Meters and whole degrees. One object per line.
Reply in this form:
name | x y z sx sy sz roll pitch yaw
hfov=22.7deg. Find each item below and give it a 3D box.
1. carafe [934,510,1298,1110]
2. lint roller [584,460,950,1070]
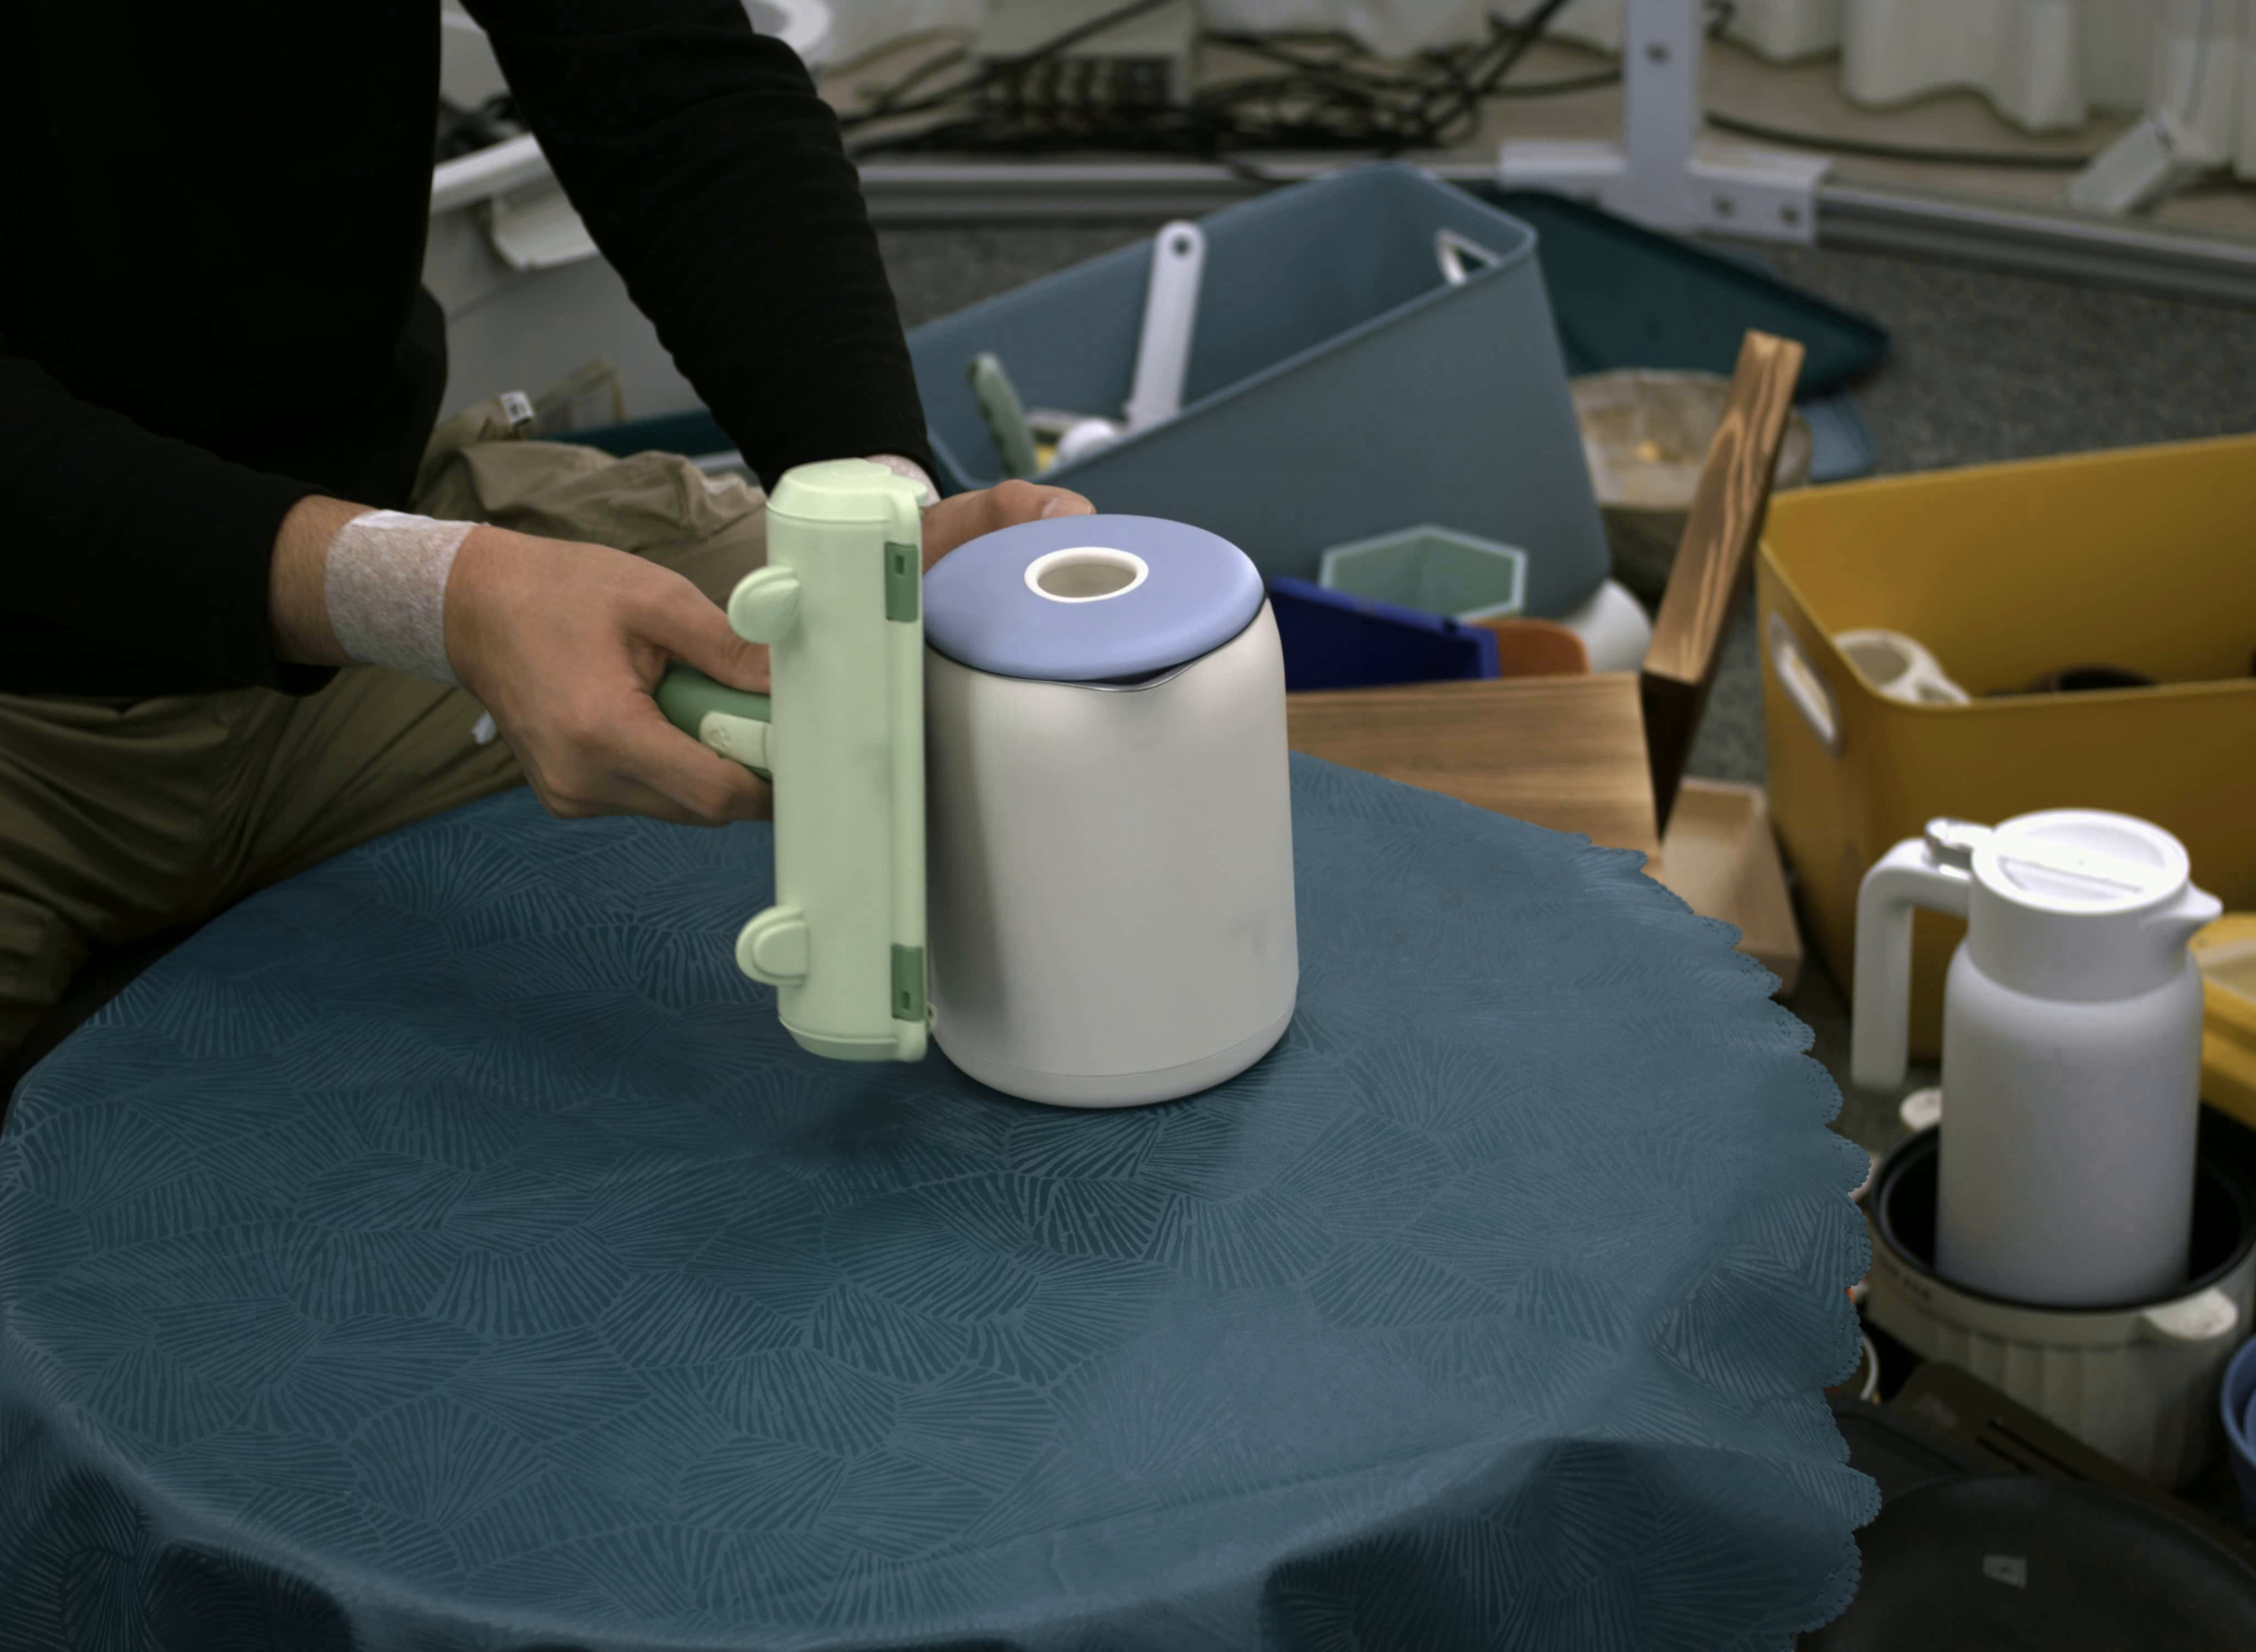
carafe | -0.017 -0.016 1.945 0.132 0.181 0.193 -10 25 -14
lint roller | -0.135 -0.027 1.885 0.182 0.198 0.083 10 17 37
